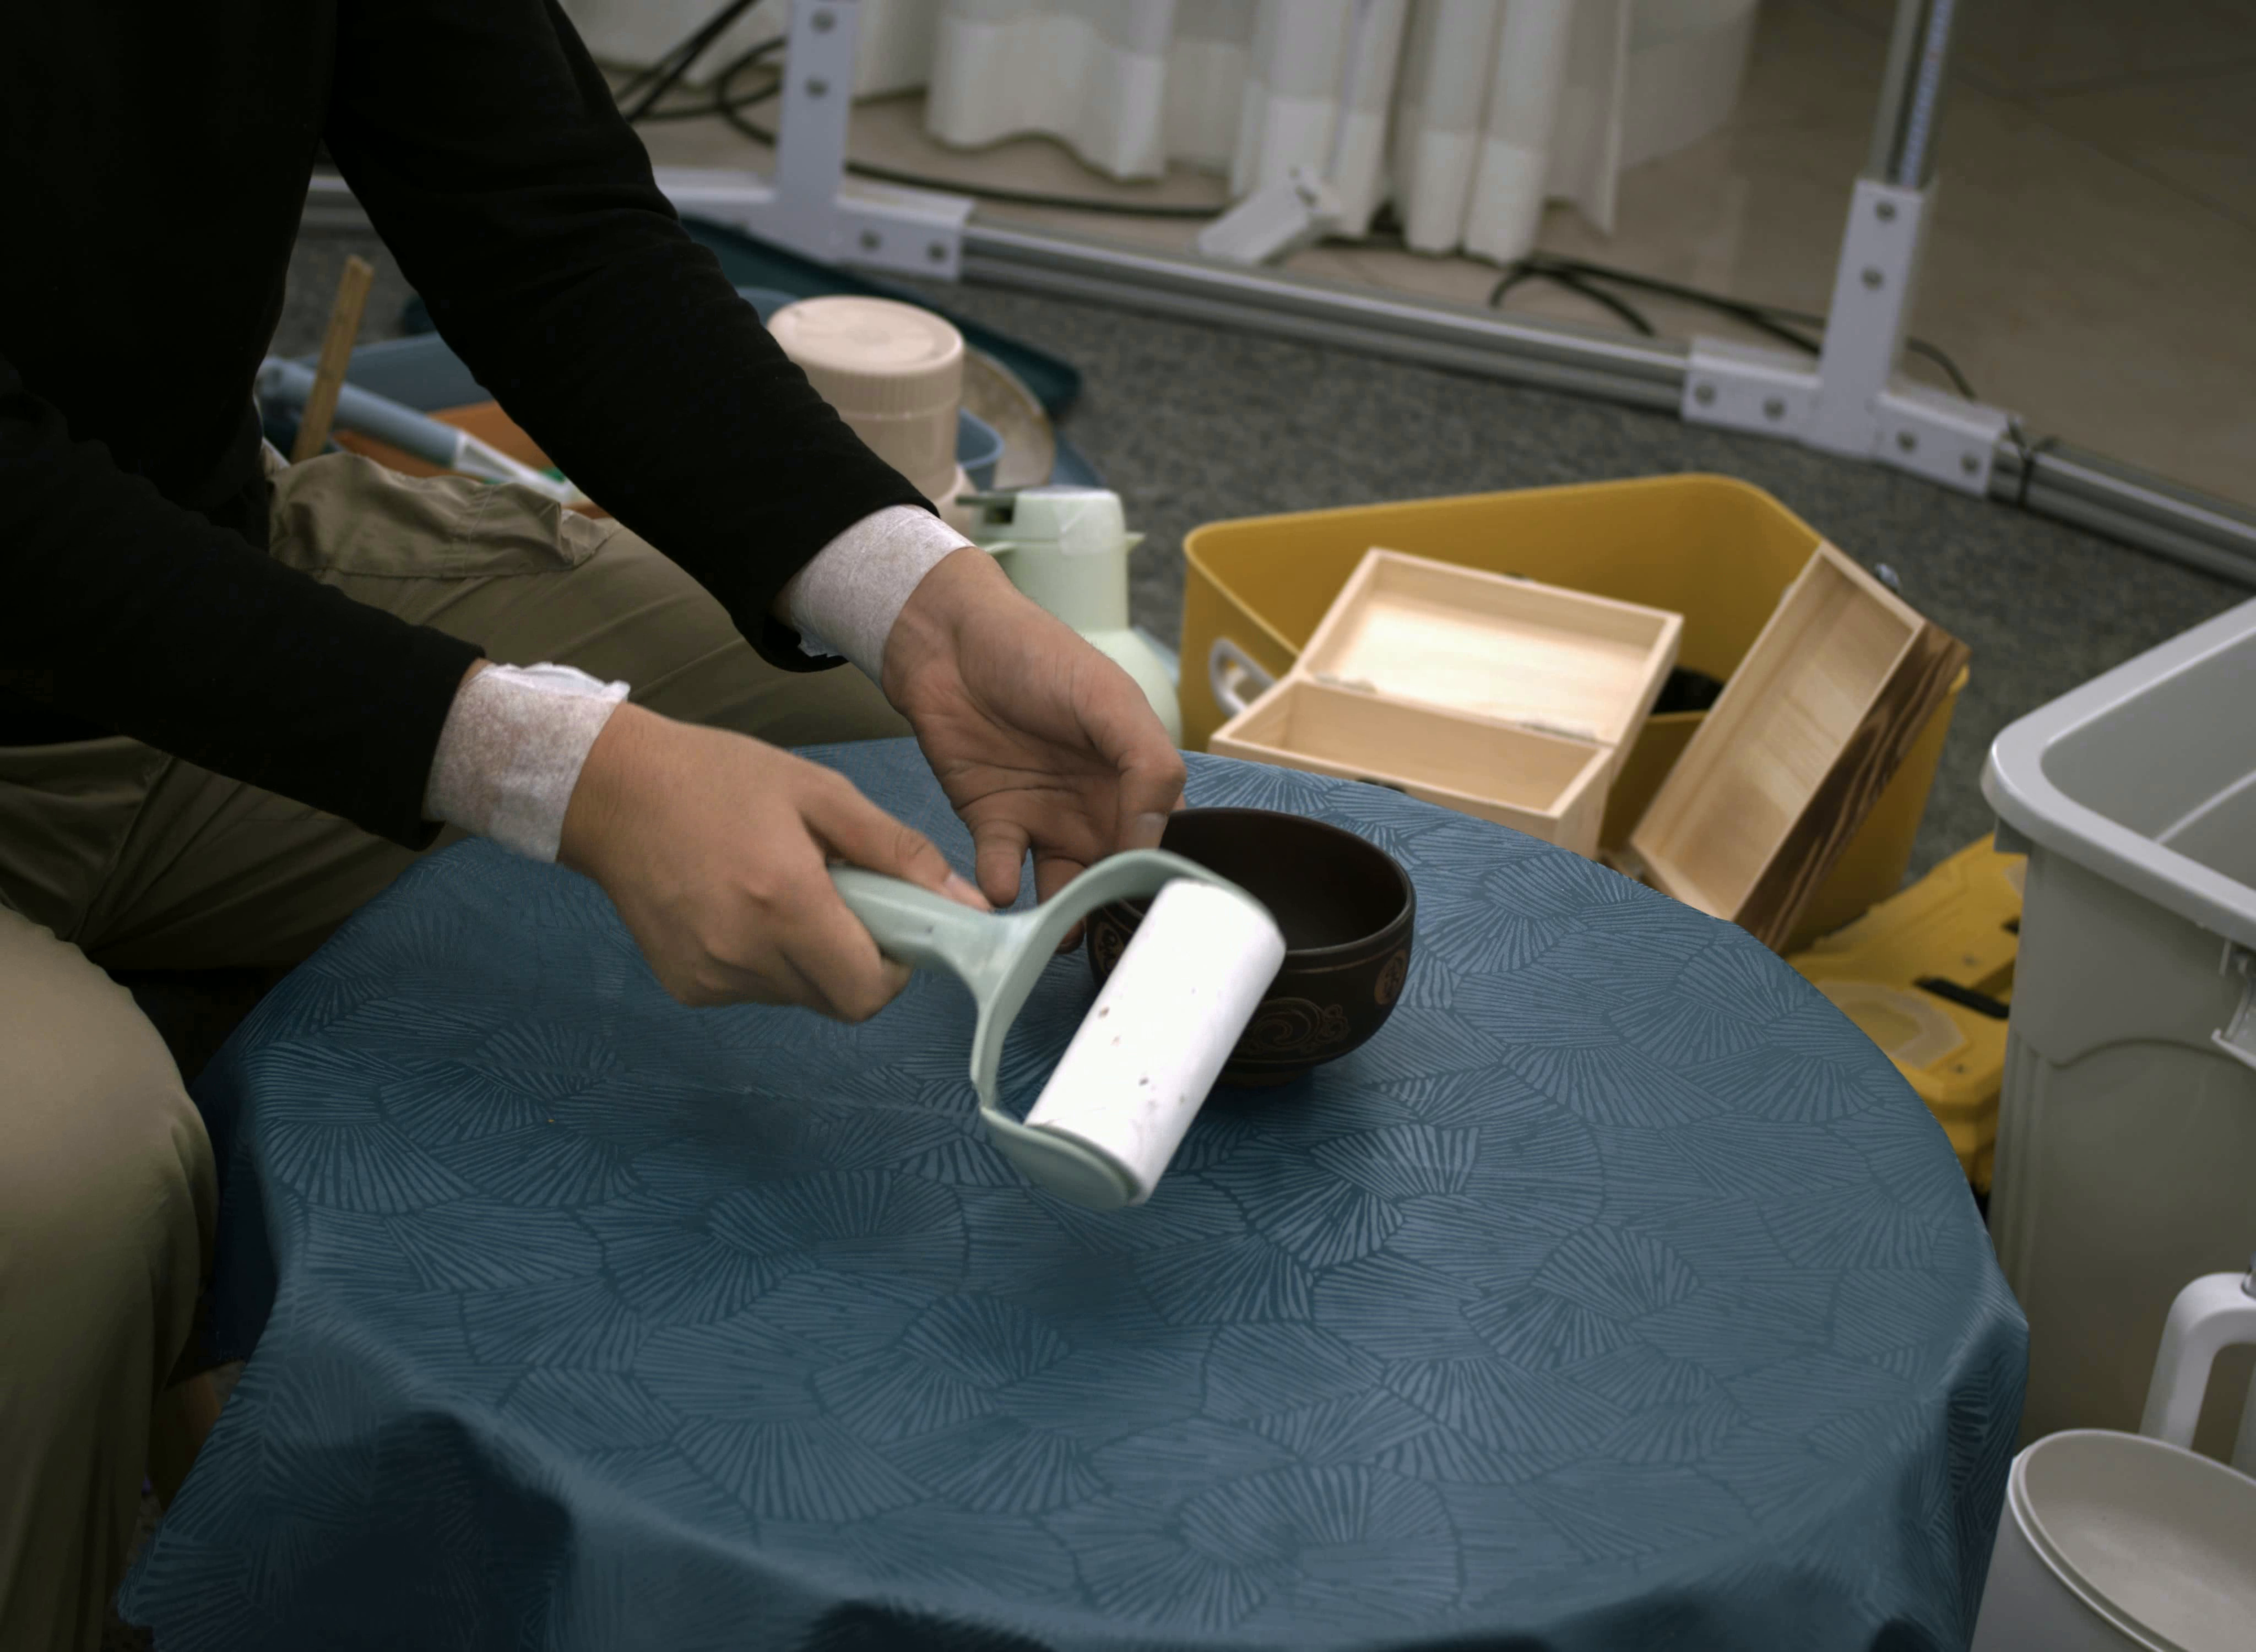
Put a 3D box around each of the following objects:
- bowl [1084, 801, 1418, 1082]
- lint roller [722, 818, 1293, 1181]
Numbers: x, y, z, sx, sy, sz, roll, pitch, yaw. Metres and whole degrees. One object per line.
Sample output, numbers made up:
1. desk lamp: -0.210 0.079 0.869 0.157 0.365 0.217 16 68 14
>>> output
1. bowl: 0.042 0.047 1.881 0.117 0.069 0.119 3 26 -2
2. lint roller: -0.051 0.036 1.773 0.198 0.048 0.117 20 68 22
